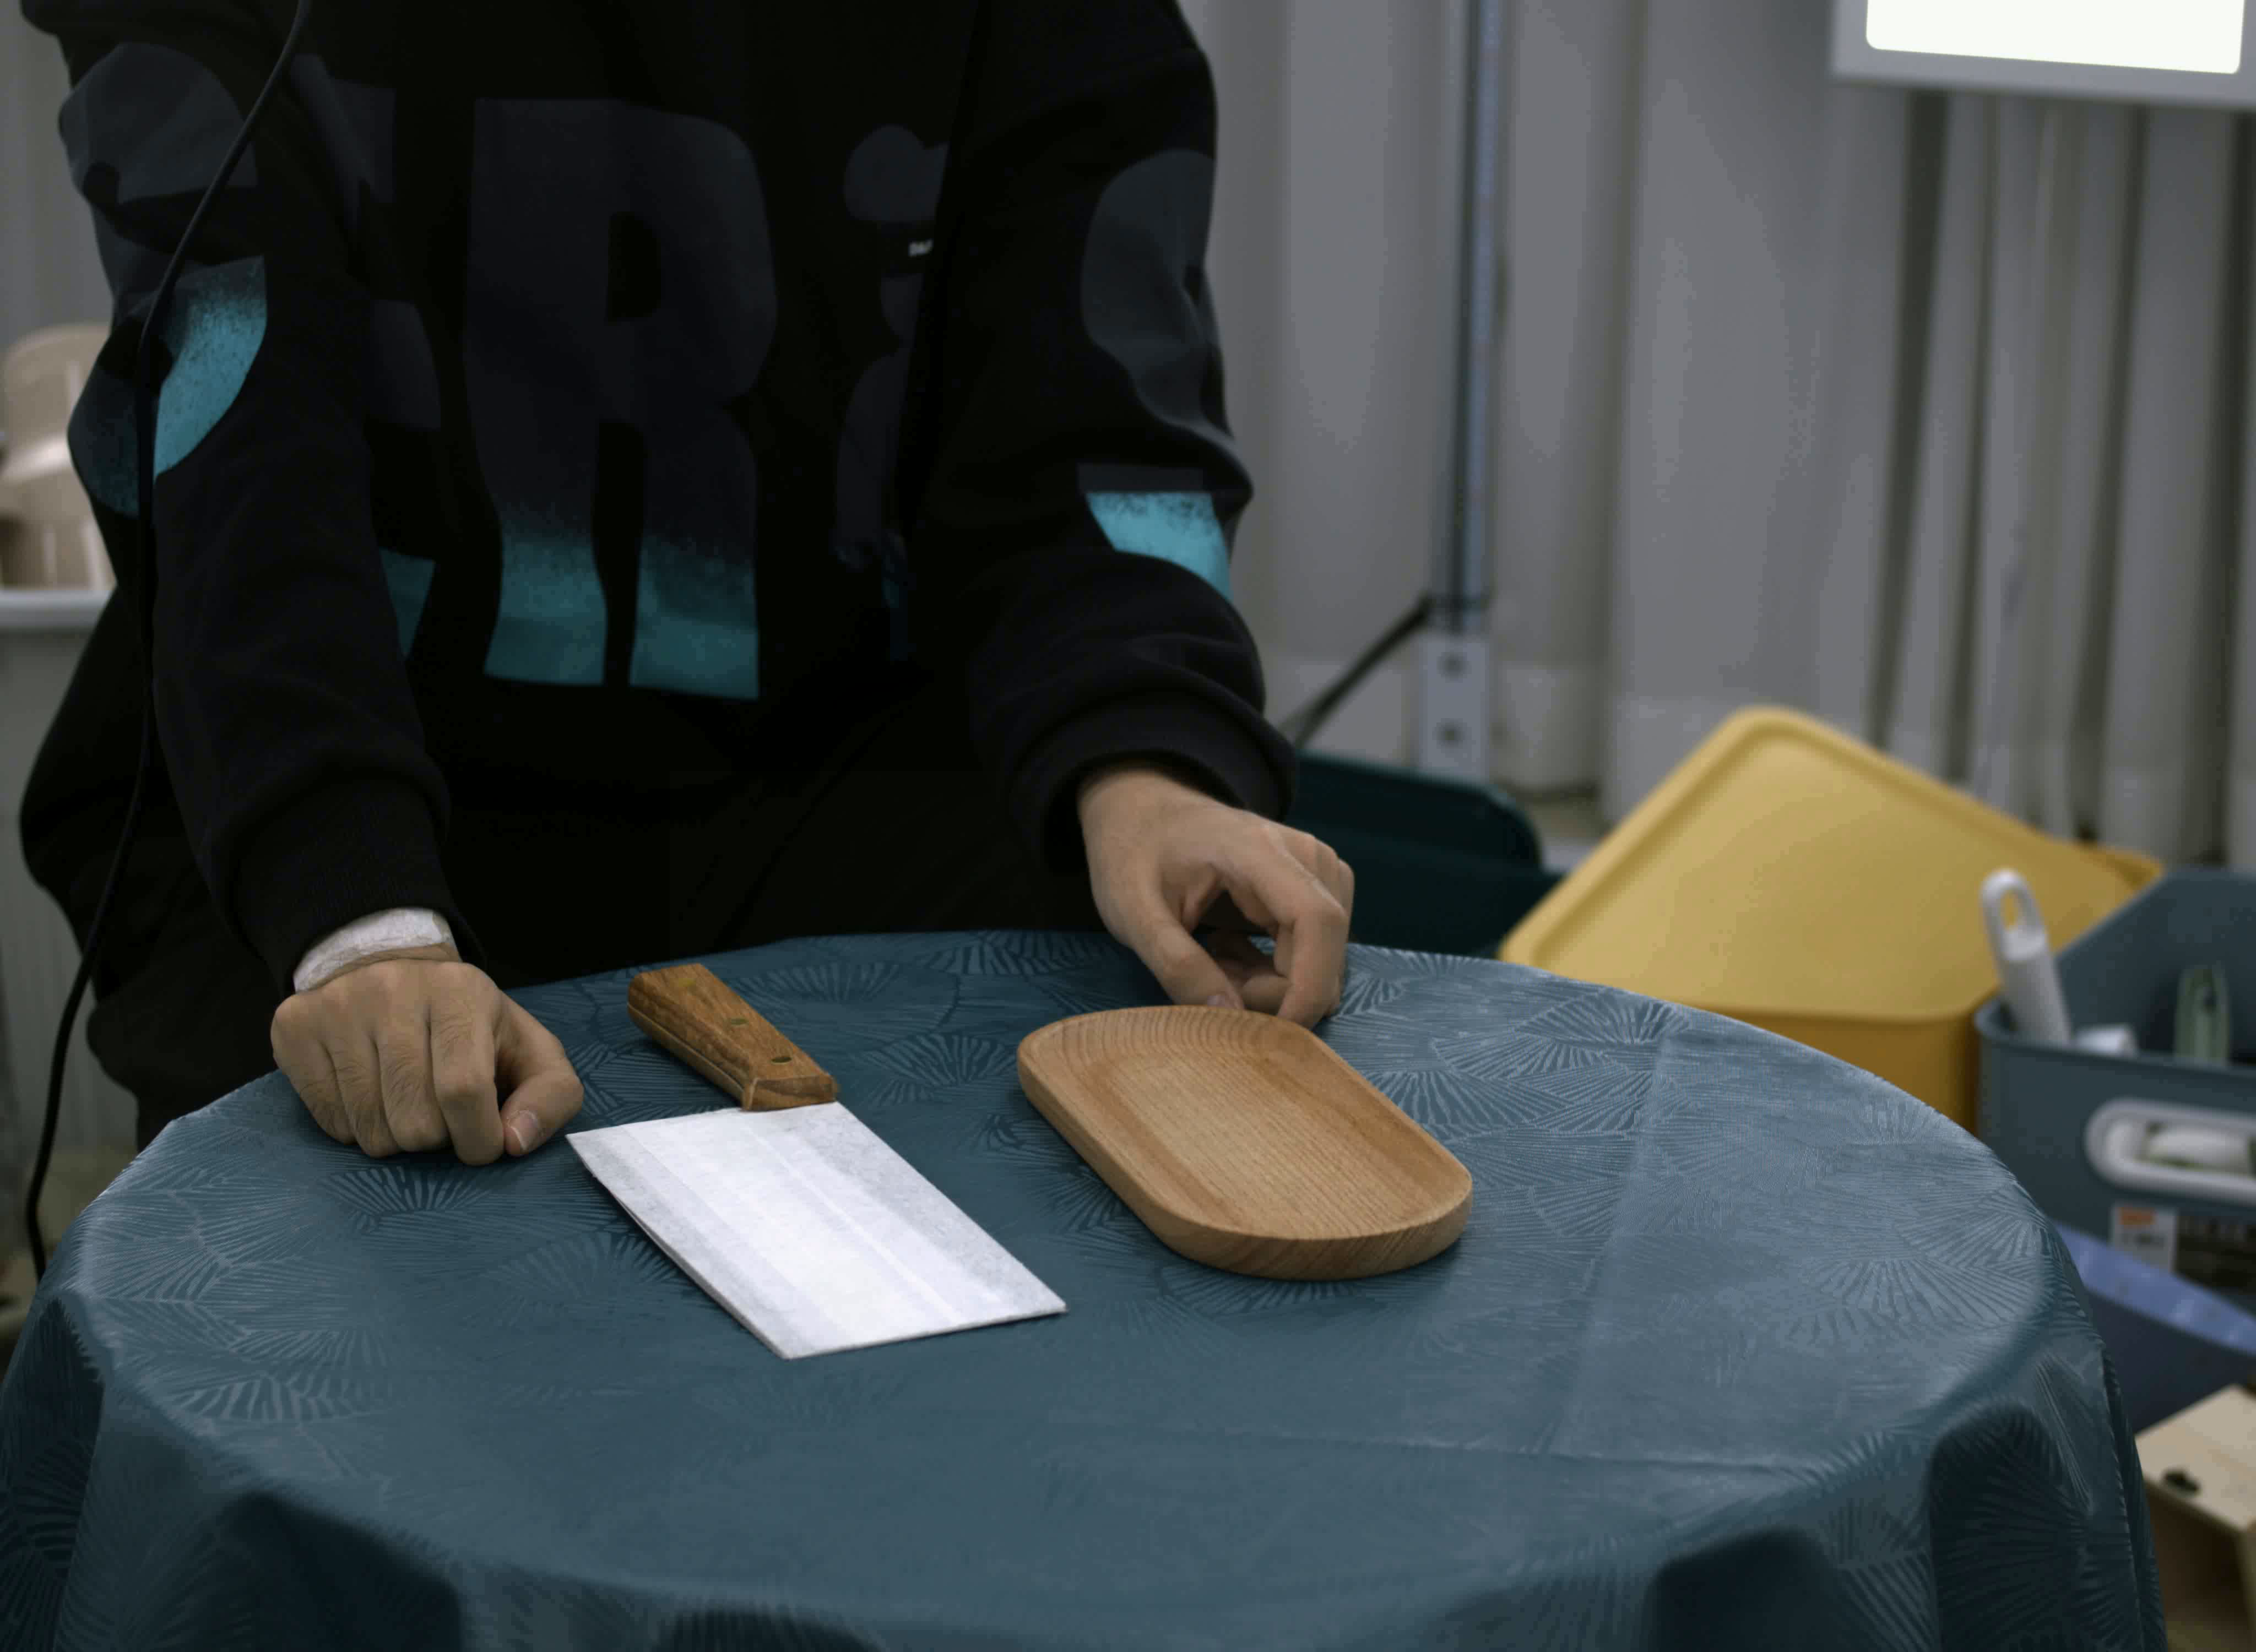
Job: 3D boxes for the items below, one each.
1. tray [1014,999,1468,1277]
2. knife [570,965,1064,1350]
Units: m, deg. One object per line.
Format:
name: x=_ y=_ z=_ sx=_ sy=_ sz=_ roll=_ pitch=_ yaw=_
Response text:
tray: x=0.033 y=0.095 z=1.652 sx=0.102 sy=0.020 sz=0.229 roll=-4 pitch=16 yaw=-17
knife: x=-0.118 y=0.101 z=1.630 sx=0.093 sy=0.021 sz=0.302 roll=-8 pitch=20 yaw=-23
